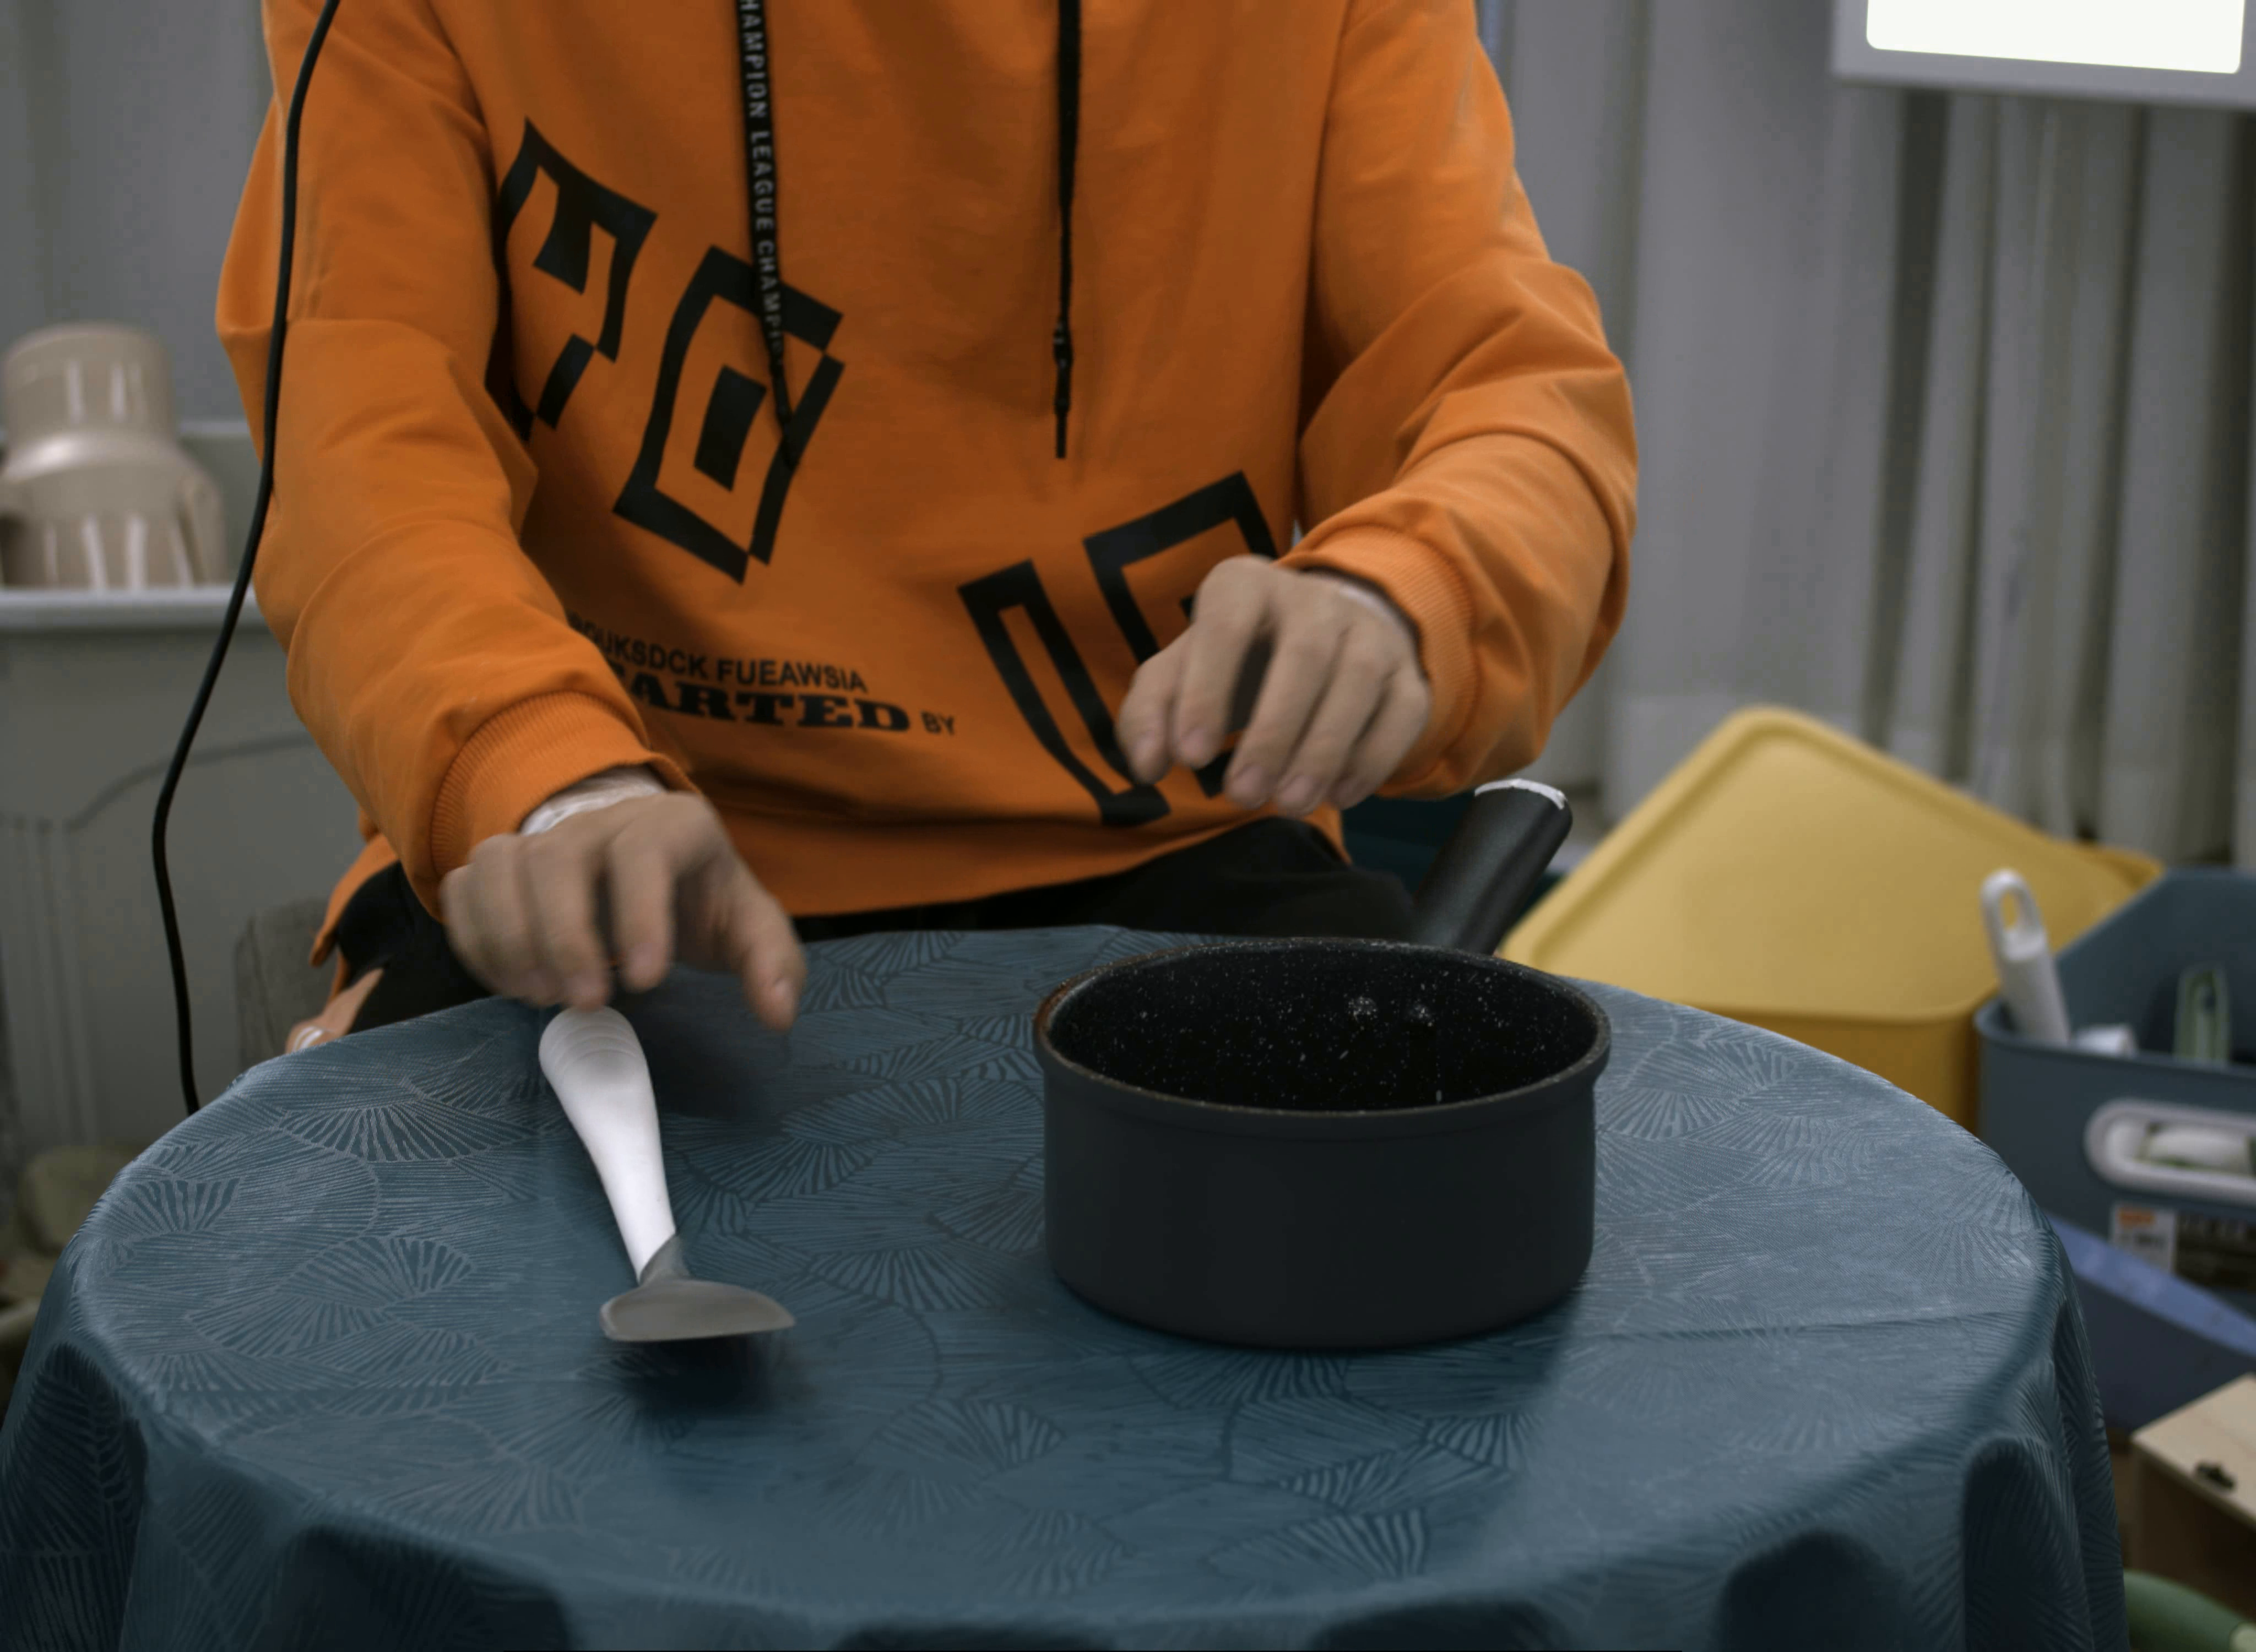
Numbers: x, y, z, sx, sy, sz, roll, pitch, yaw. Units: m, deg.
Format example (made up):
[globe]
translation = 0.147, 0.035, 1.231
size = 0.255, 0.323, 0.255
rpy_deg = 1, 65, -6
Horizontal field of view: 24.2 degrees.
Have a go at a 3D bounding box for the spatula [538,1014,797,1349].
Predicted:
[spatula]
translation = -0.144, 0.111, 1.563
size = 0.059, 0.032, 0.285
rpy_deg = 1, 14, -13

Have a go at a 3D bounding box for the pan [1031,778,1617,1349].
[pan]
translation = 0.084, 0.069, 1.623
size = 0.170, 0.087, 0.329
rpy_deg = 7, 19, 19
